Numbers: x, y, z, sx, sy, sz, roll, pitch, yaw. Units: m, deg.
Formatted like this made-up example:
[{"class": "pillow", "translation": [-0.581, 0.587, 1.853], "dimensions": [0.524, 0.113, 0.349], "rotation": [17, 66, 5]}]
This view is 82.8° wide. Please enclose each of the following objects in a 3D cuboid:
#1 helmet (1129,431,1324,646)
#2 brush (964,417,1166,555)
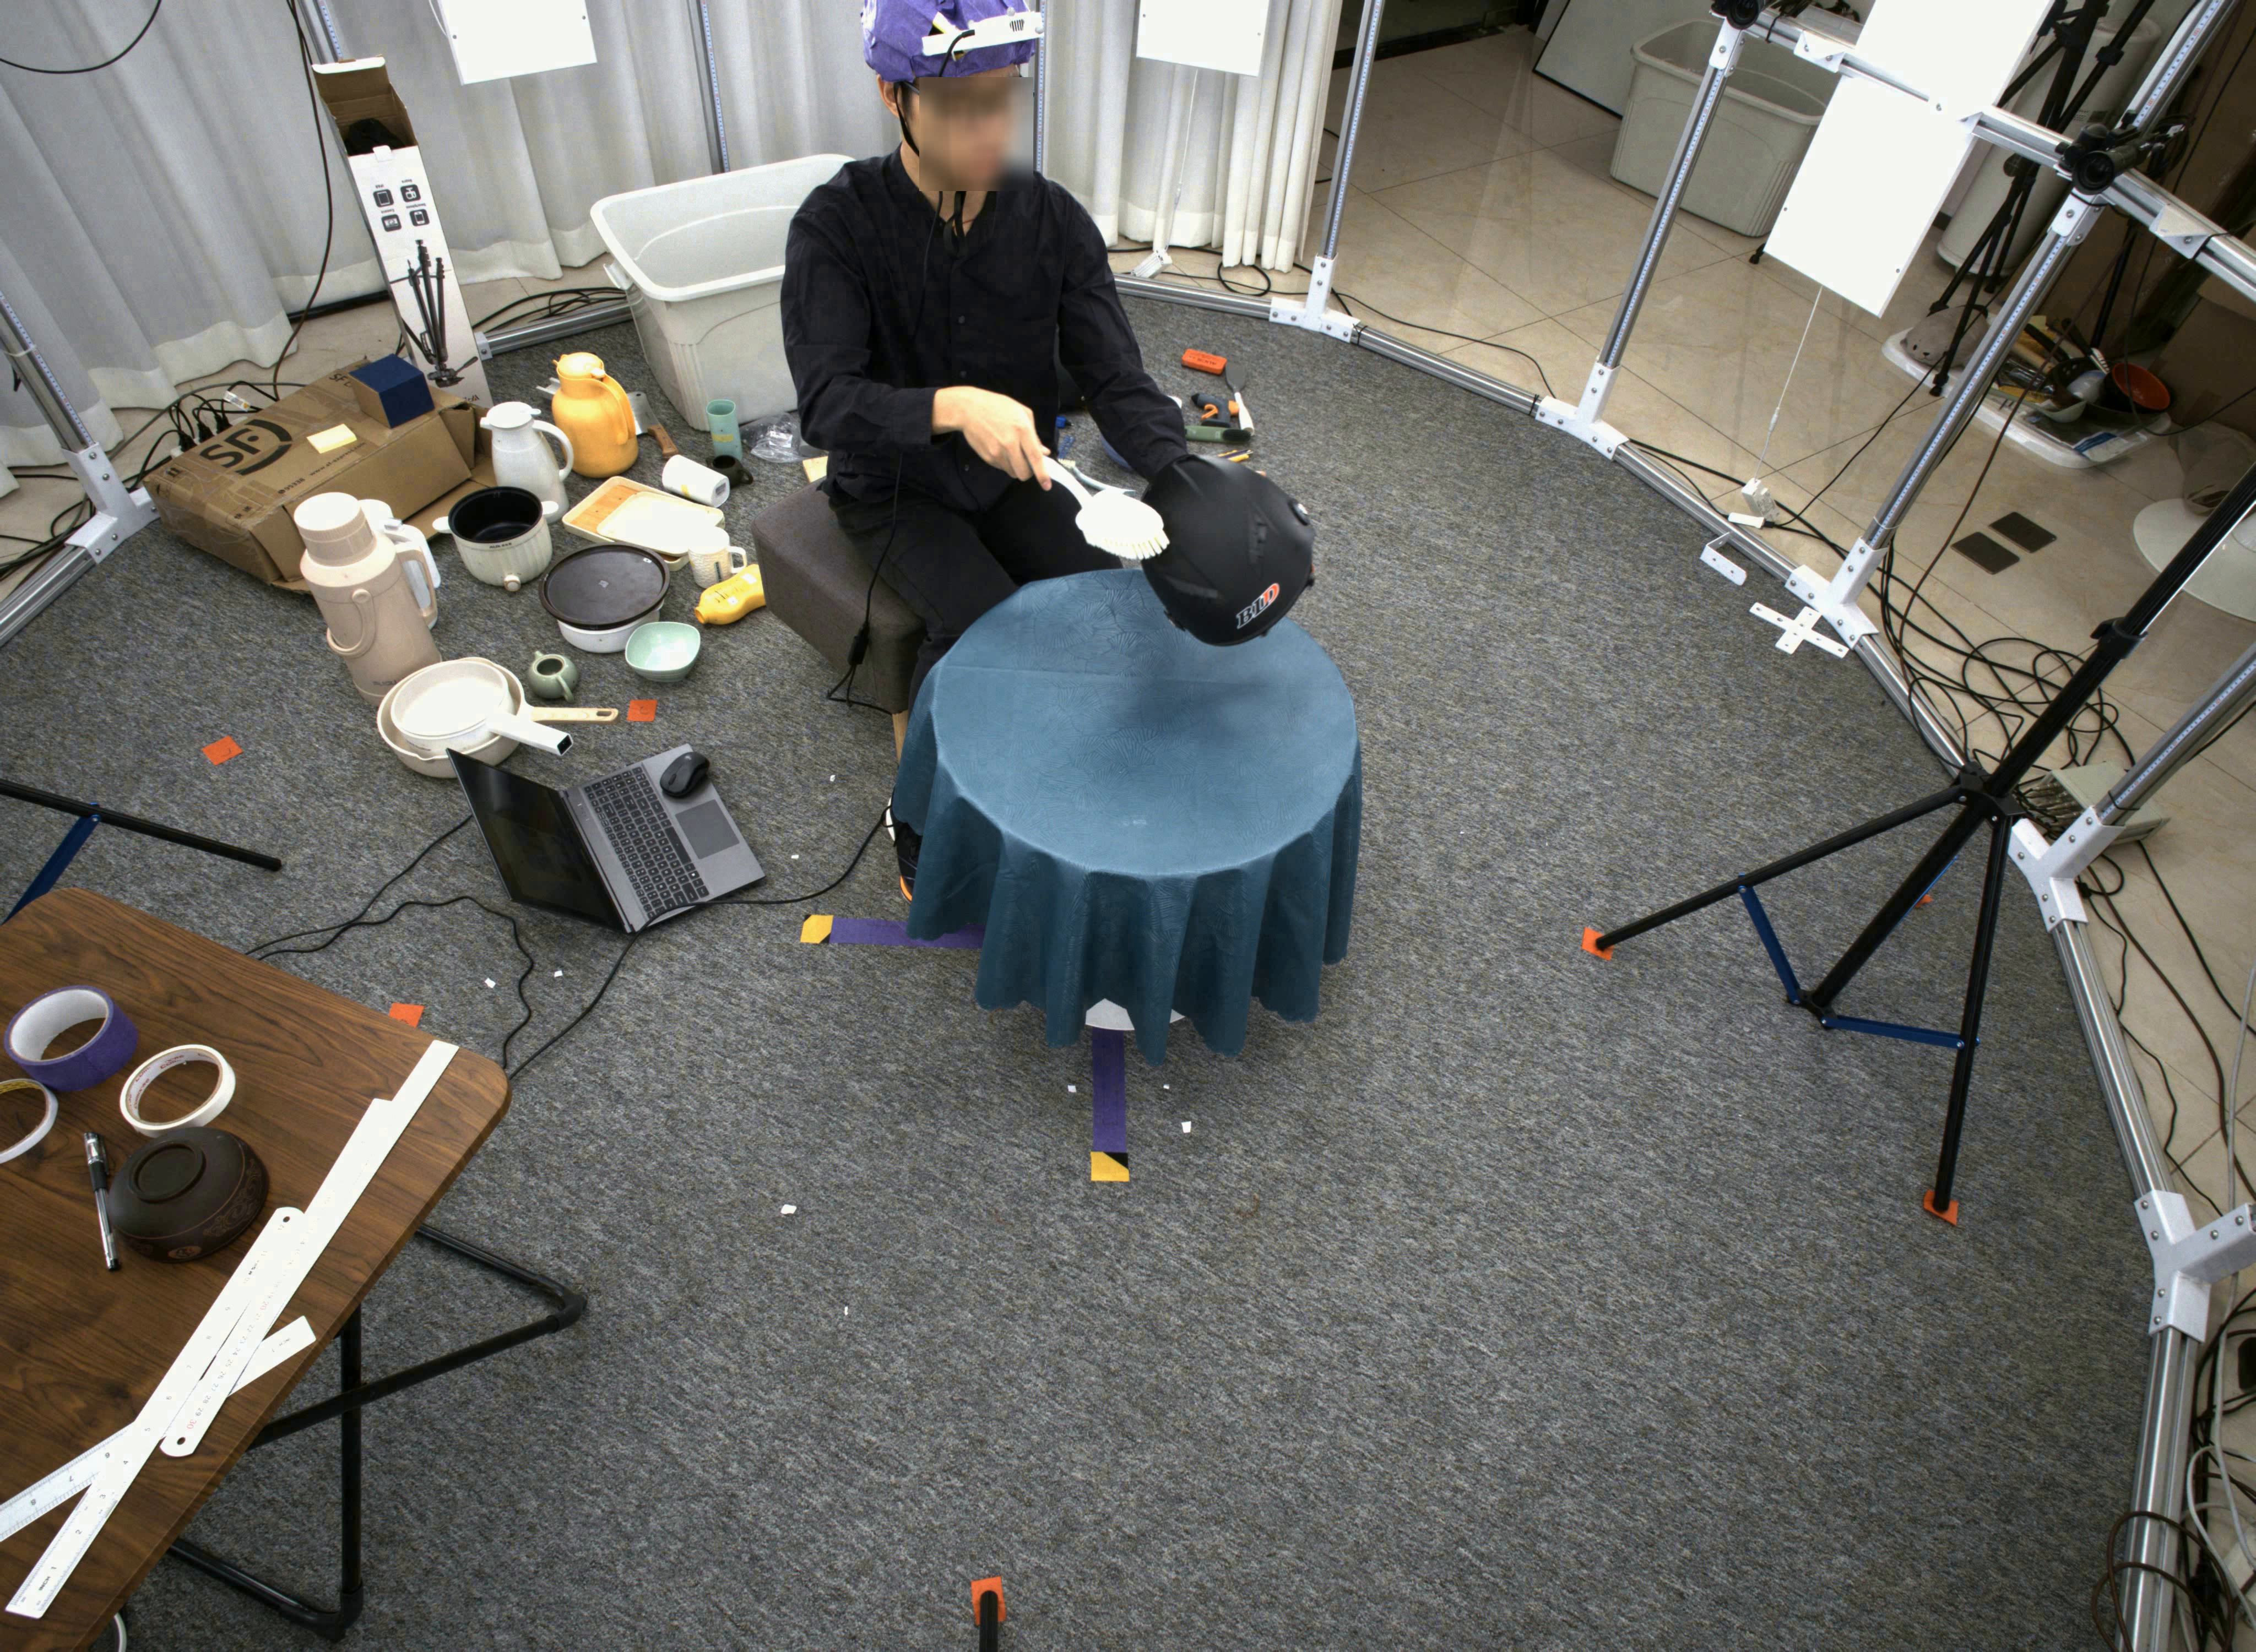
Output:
[{"class": "helmet", "translation": [0.113, -0.381, 1.681], "dimensions": [0.245, 0.169, 0.283], "rotation": [-38, 45, 17]}, {"class": "brush", "translation": [-0.080, -0.441, 1.690], "dimensions": [0.329, 0.083, 0.084], "rotation": [34, 38, 23]}]
